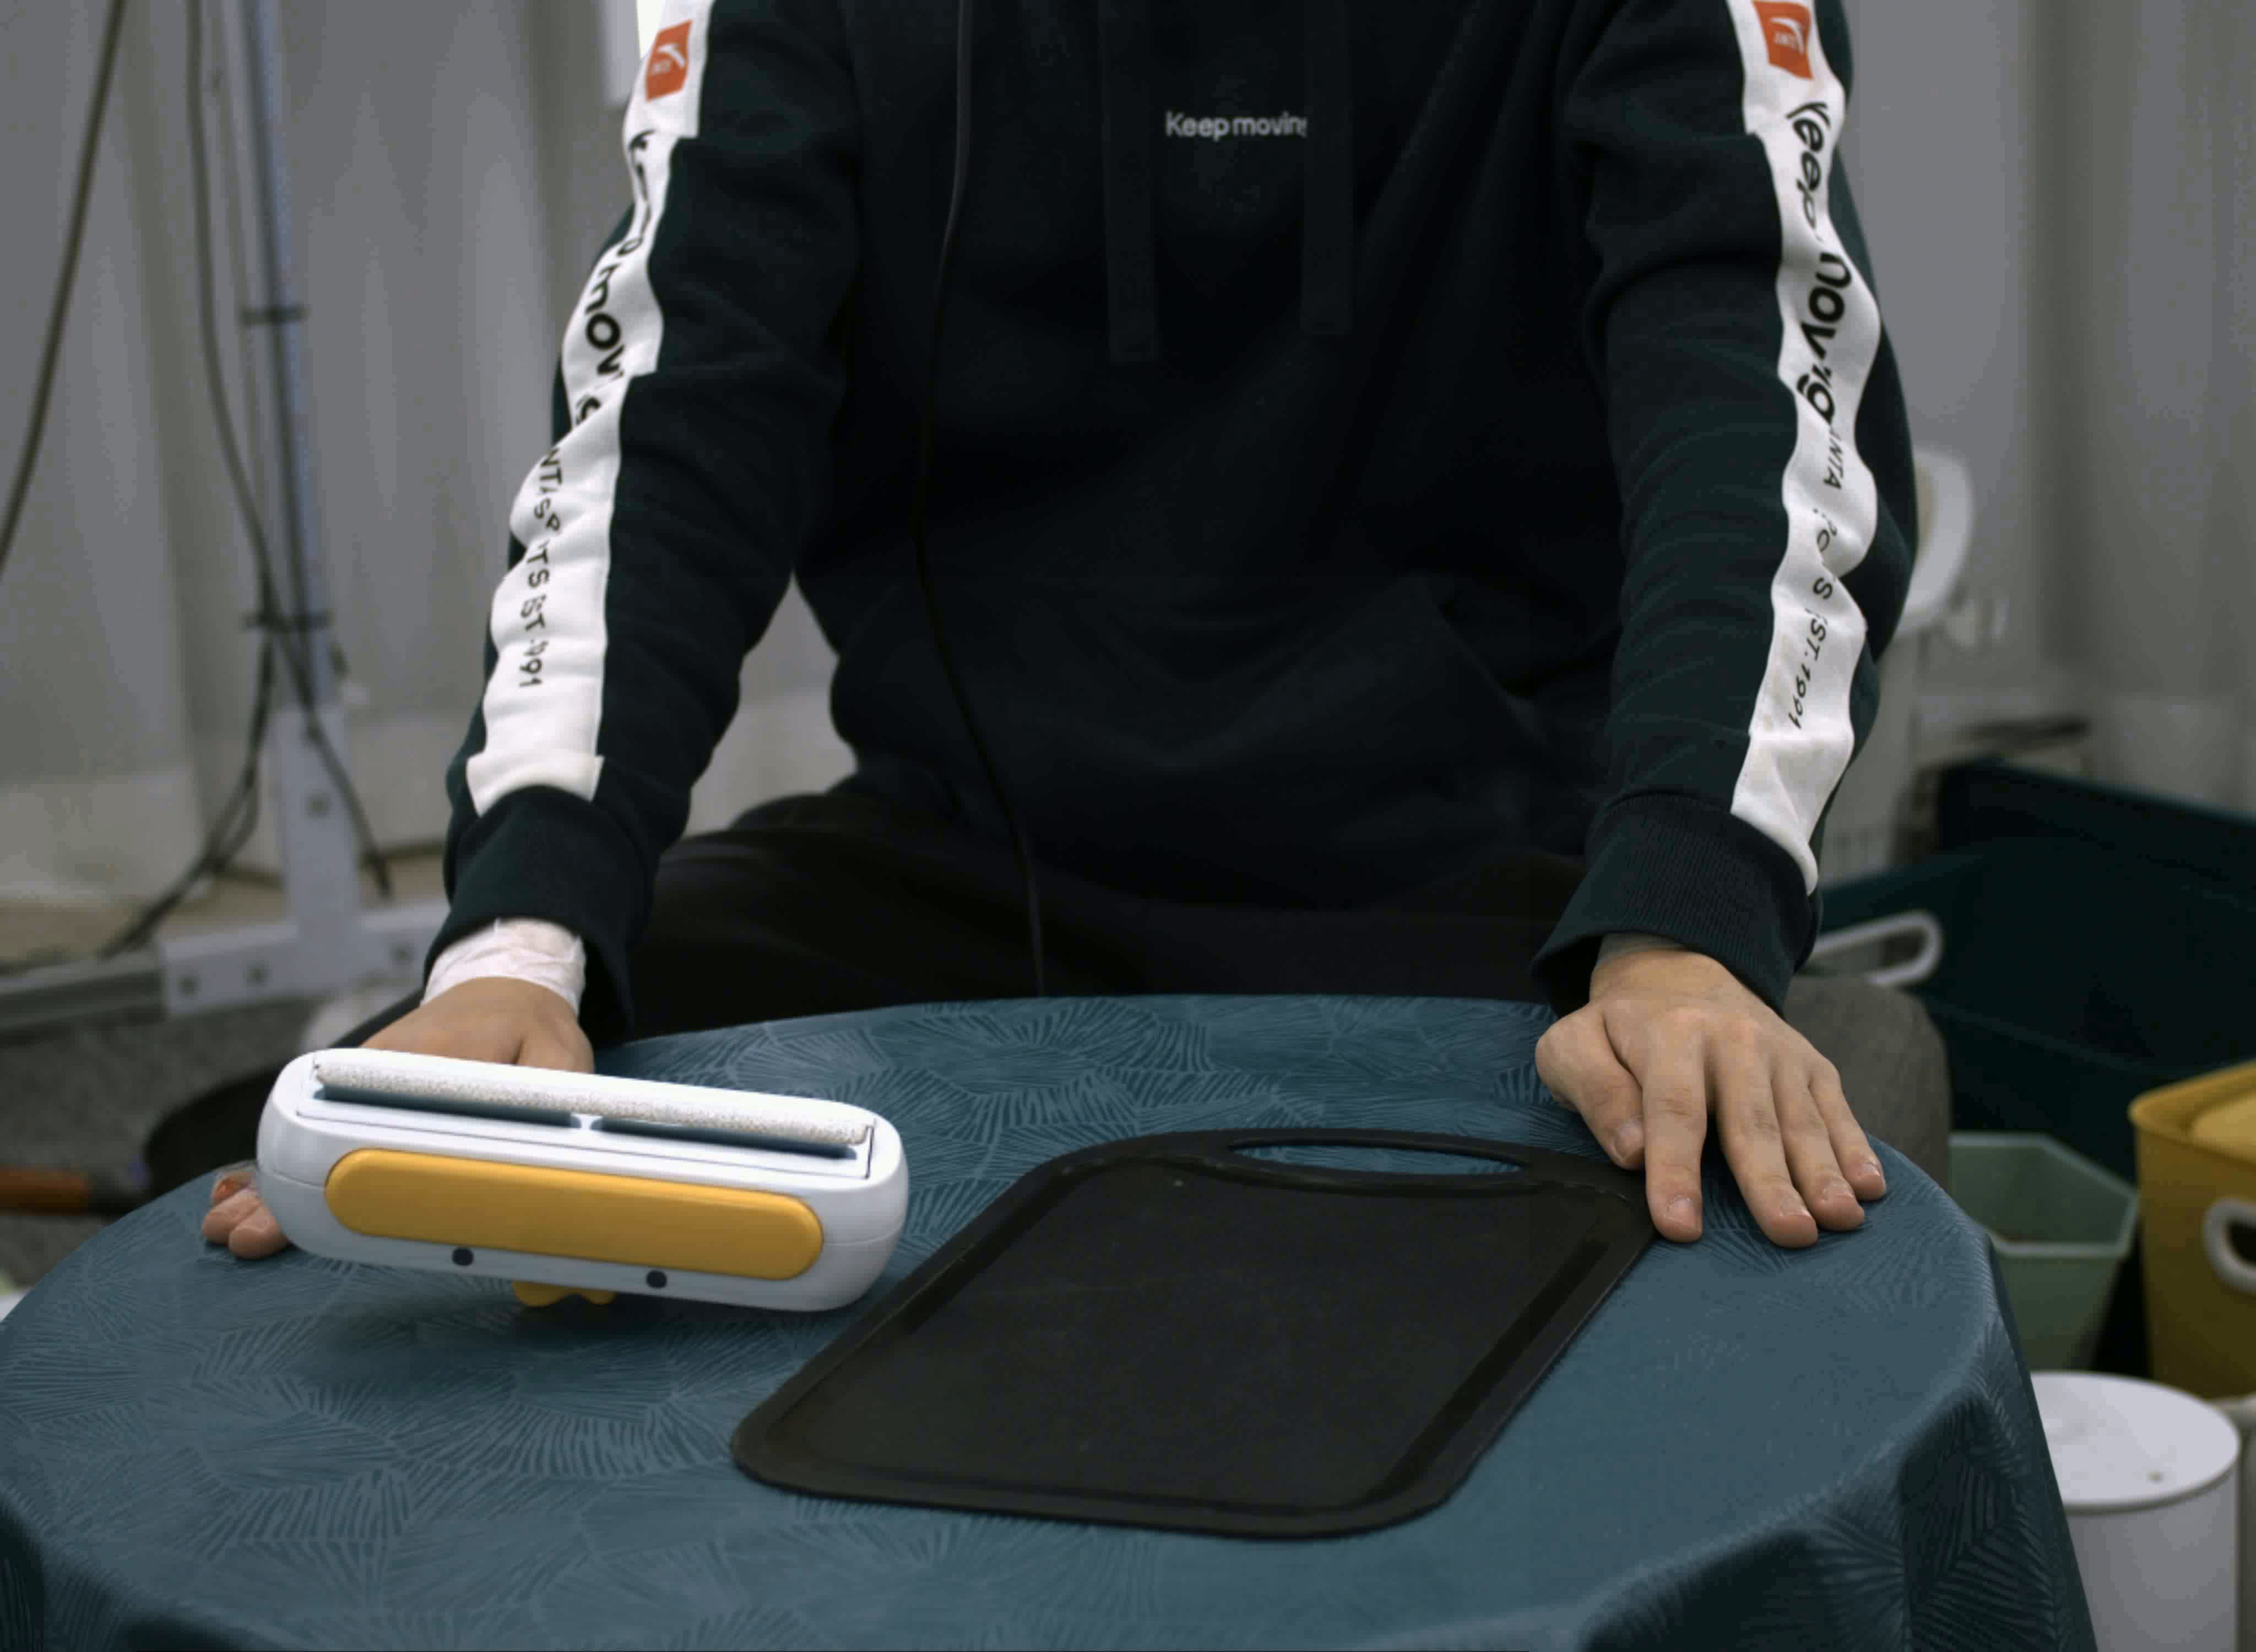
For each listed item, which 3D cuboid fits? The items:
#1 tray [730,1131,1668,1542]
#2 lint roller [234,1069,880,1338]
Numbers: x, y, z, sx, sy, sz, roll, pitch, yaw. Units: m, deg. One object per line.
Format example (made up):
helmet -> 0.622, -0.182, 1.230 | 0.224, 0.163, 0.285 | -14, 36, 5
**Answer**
tray -> 0.030, 0.140, 1.601 | 0.211, 0.010, 0.326 | 3, 16, 21
lint roller -> -0.166, 0.117, 1.682 | 0.192, 0.074, 0.192 | 5, 1, 4
